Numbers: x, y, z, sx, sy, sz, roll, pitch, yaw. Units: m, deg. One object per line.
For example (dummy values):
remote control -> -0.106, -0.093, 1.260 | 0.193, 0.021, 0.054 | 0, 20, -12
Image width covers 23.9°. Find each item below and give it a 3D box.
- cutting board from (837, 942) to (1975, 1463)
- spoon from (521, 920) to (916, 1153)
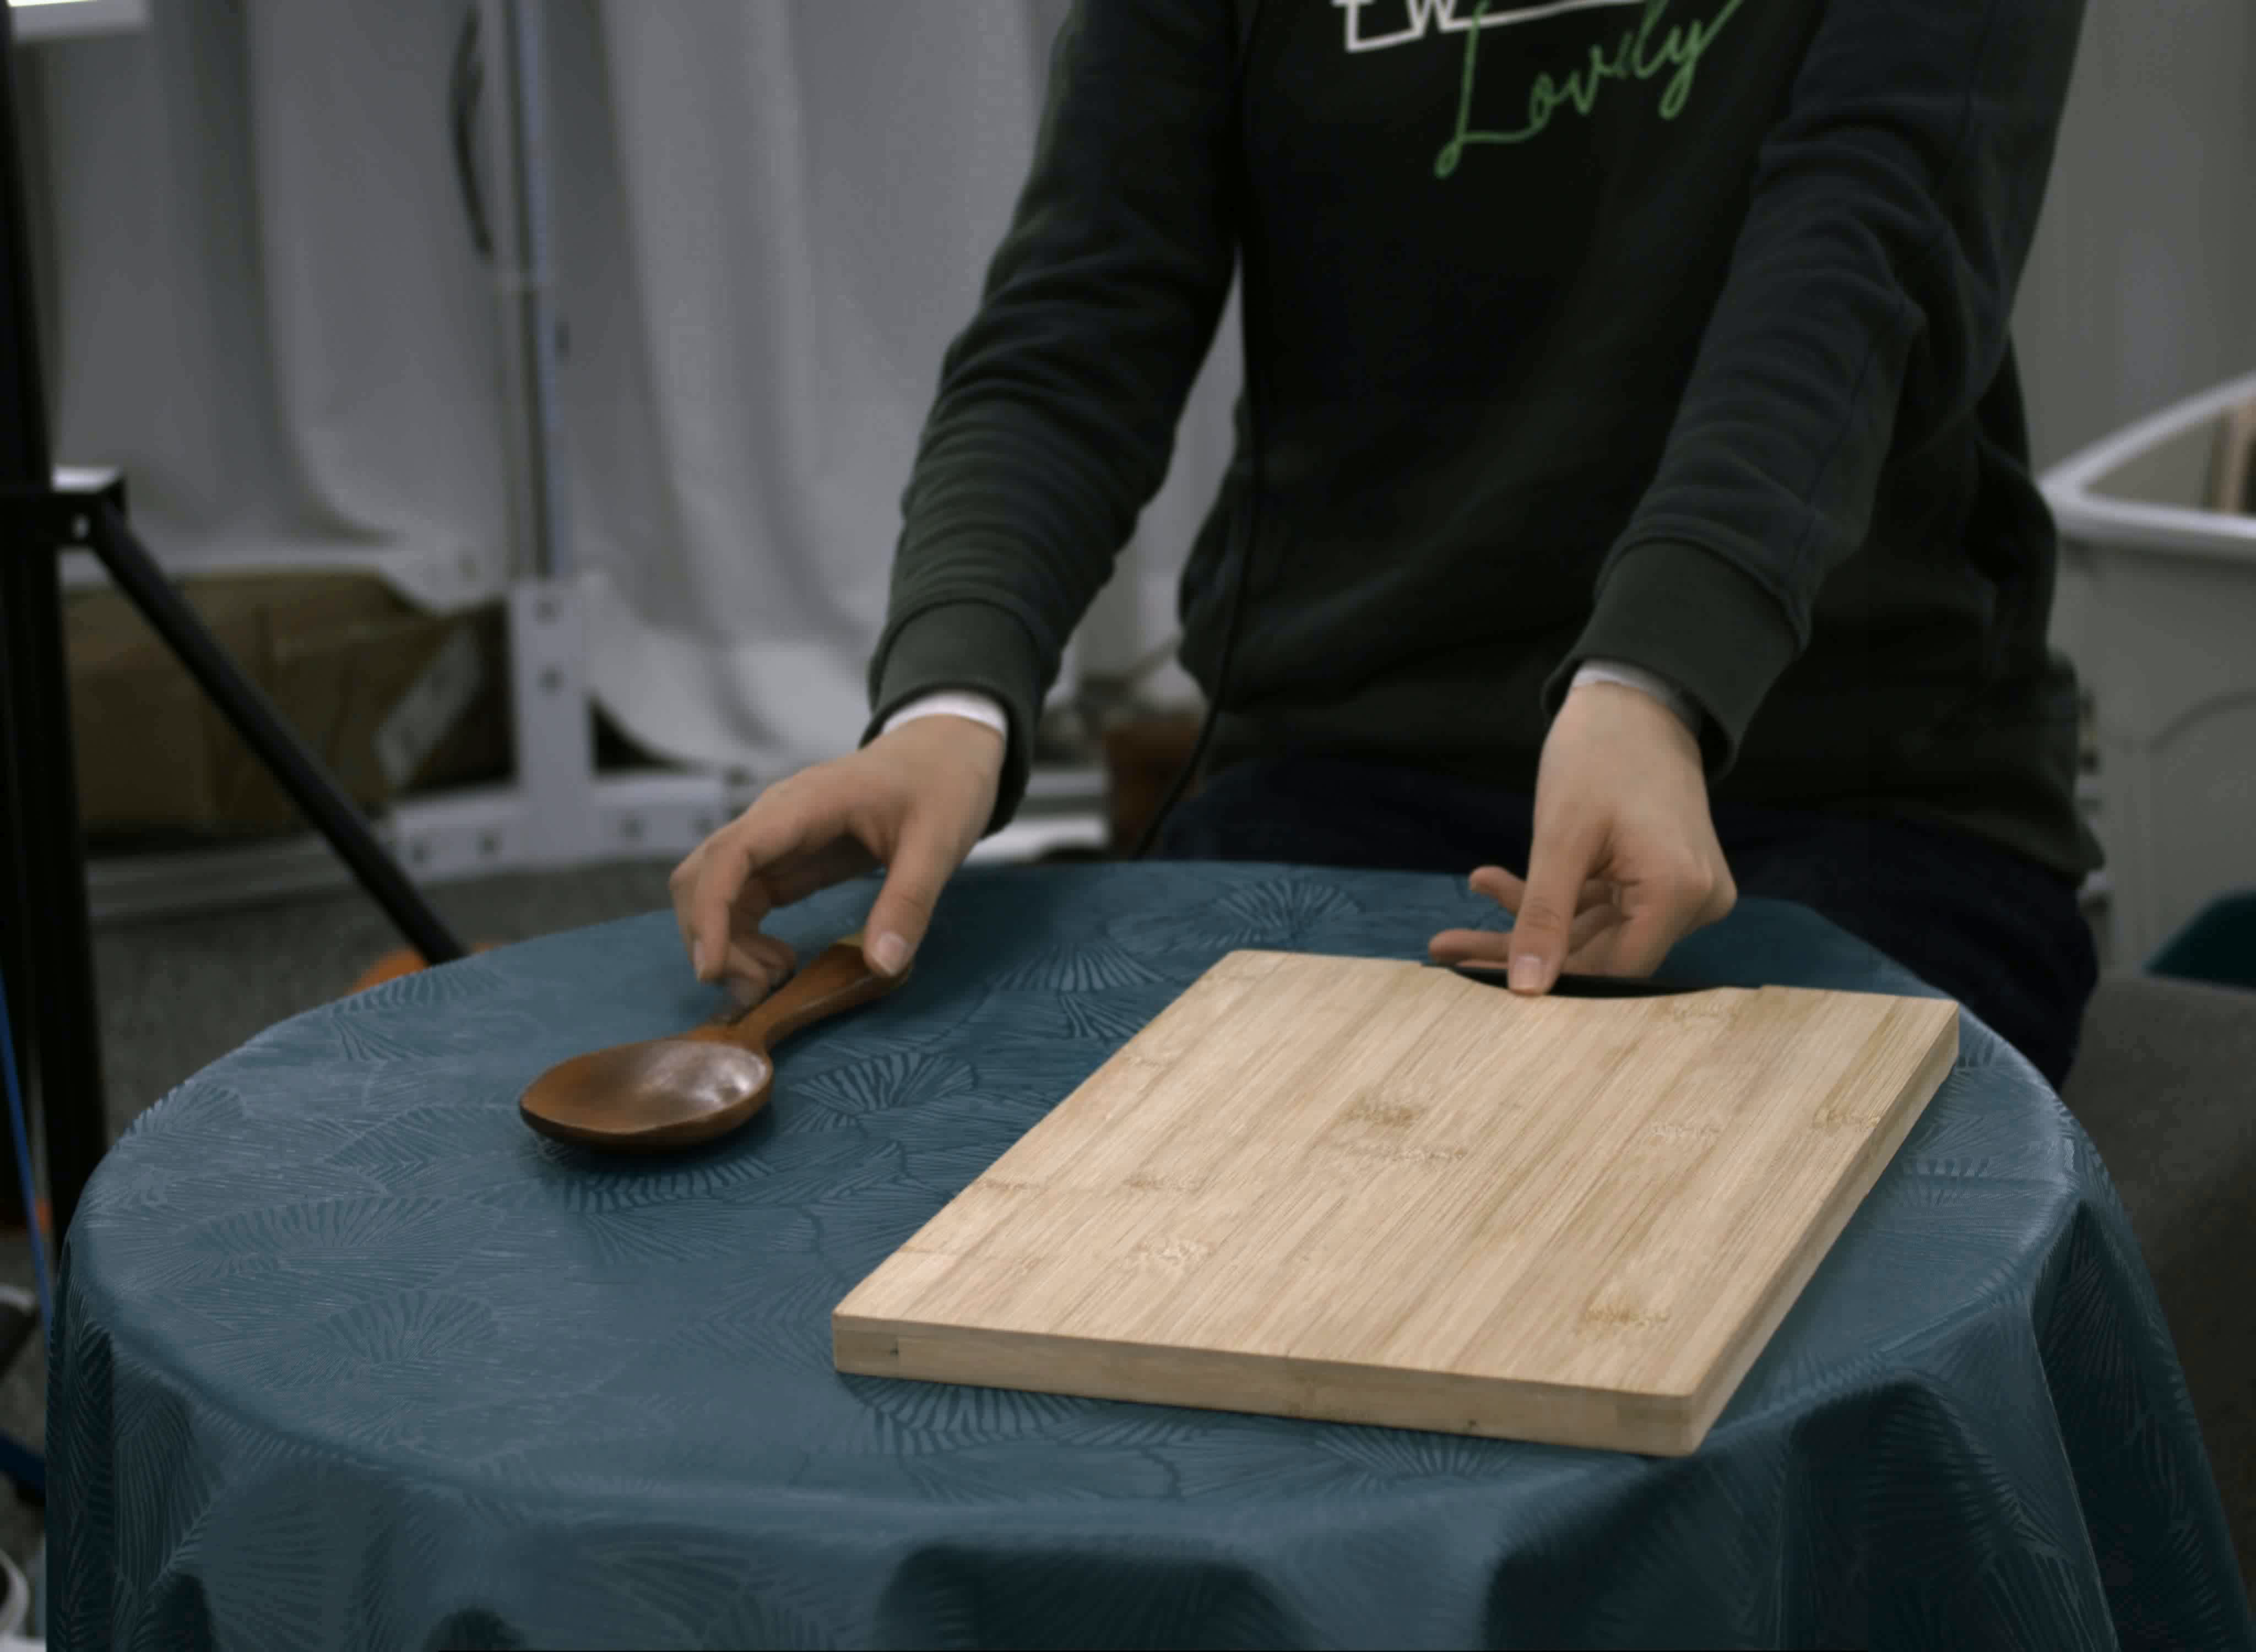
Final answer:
cutting board -> 0.092, 0.100, 1.540 | 0.253, 0.023, 0.344 | 4, 17, 20
spoon -> -0.120, 0.068, 1.687 | 0.076, 0.017, 0.213 | 3, 17, 24
